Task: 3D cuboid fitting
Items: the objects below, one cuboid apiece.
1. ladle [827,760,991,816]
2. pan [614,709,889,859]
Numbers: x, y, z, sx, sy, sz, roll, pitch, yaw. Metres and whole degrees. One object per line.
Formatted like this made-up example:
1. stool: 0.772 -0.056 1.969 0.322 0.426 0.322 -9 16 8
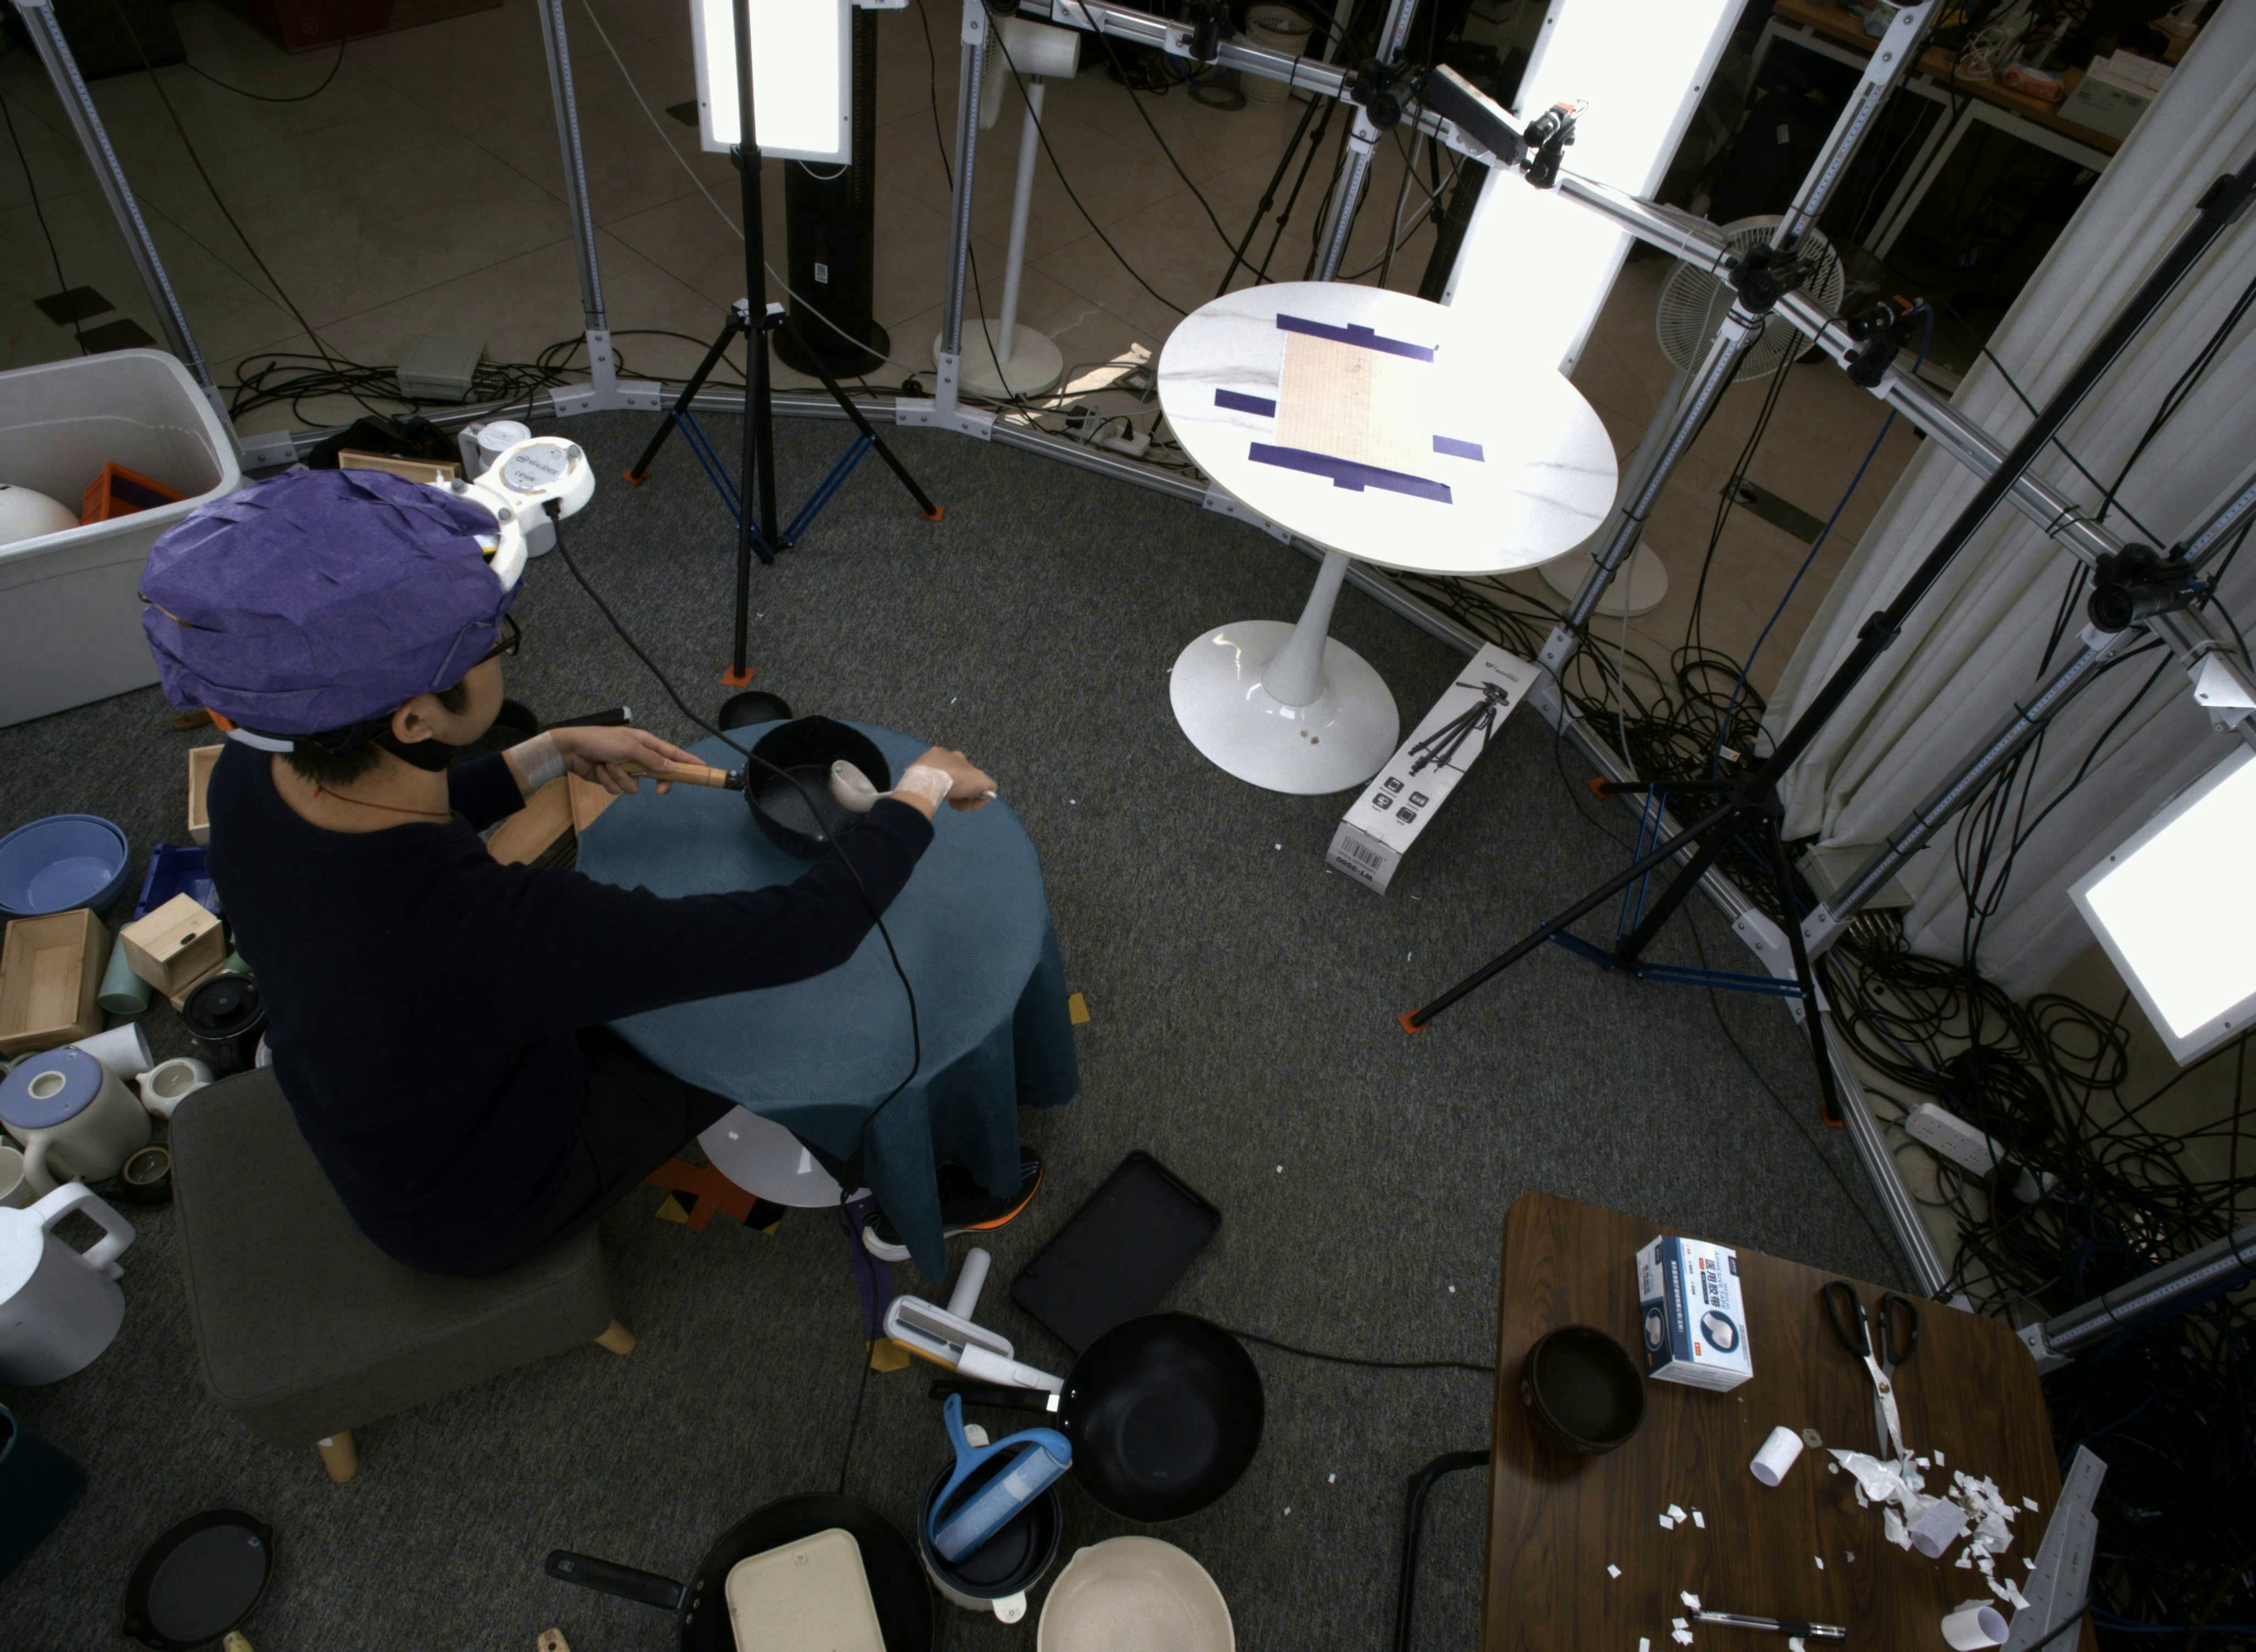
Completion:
1. ladle: -0.265 -0.059 1.607 0.266 0.093 0.069 -6 58 34
2. pan: -0.480 -0.051 1.649 0.346 0.109 0.203 0 58 -23
